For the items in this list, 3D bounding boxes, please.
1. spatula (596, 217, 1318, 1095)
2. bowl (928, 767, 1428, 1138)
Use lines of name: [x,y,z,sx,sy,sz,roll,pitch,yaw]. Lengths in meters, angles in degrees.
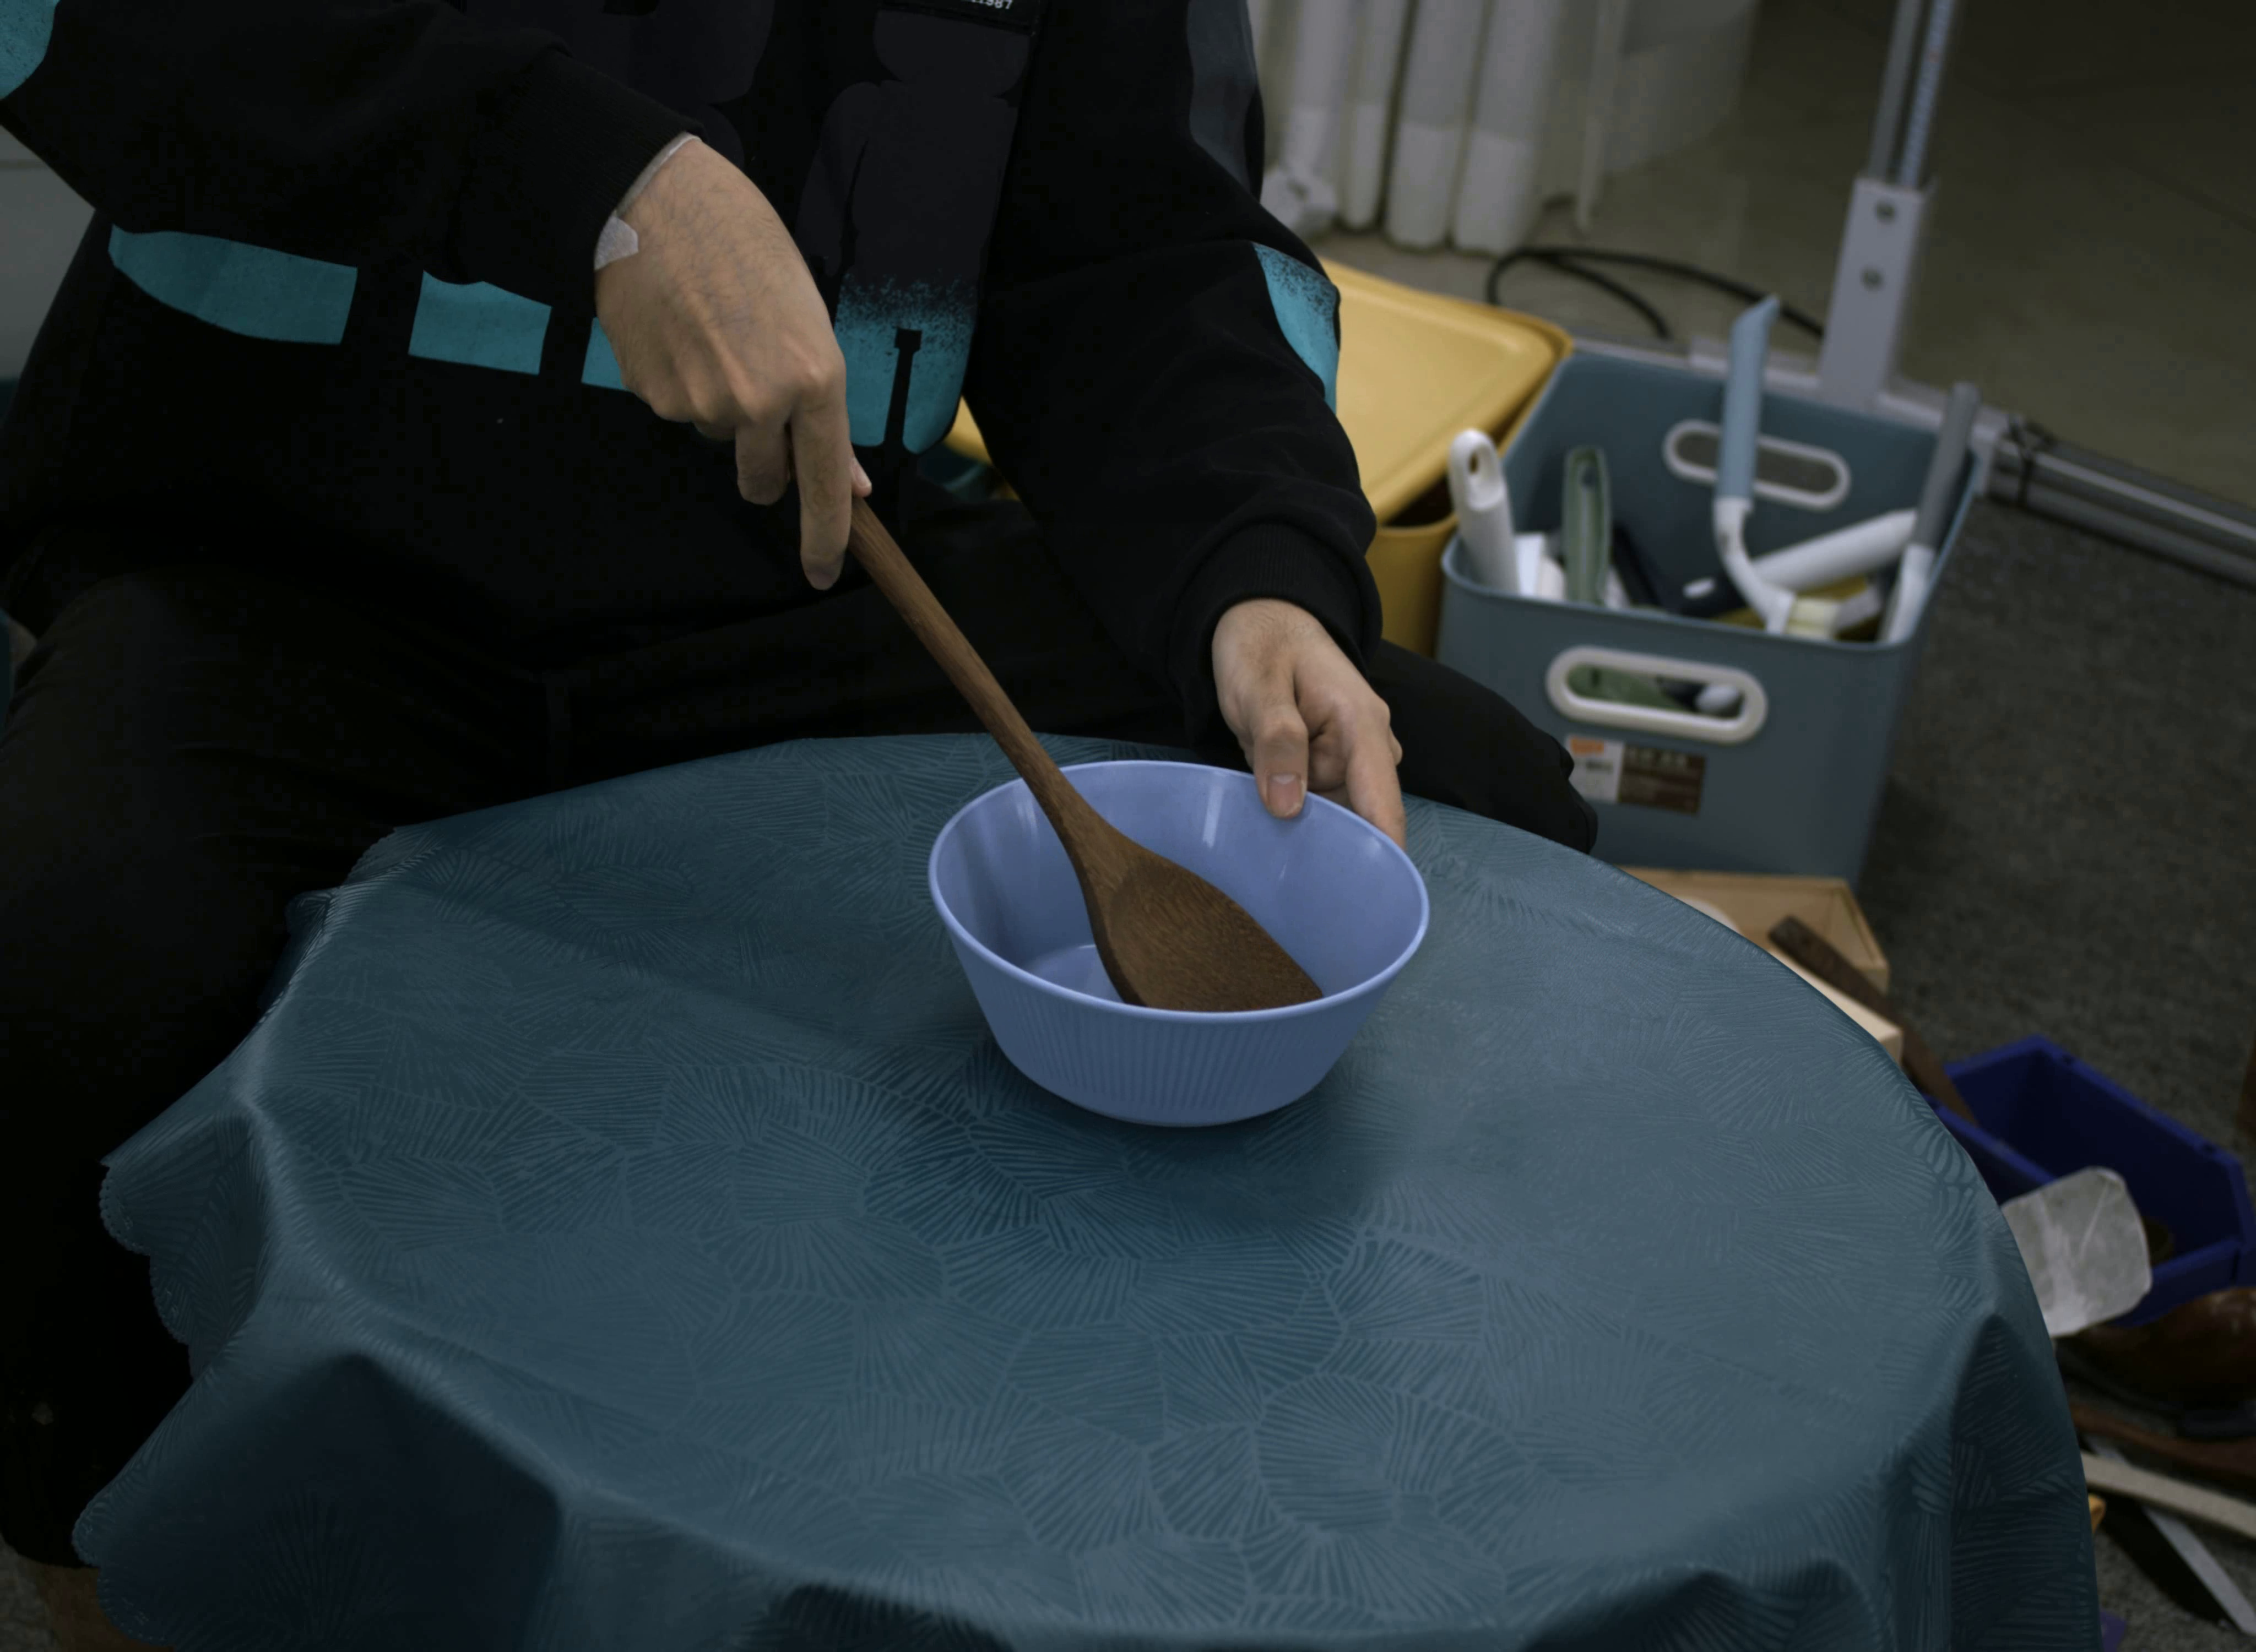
spatula: [-0.063,-0.062,1.863,0.386,0.016,0.096,52,32,-1]
bowl: [0.016,0.051,1.871,0.175,0.070,0.177,2,31,-1]
